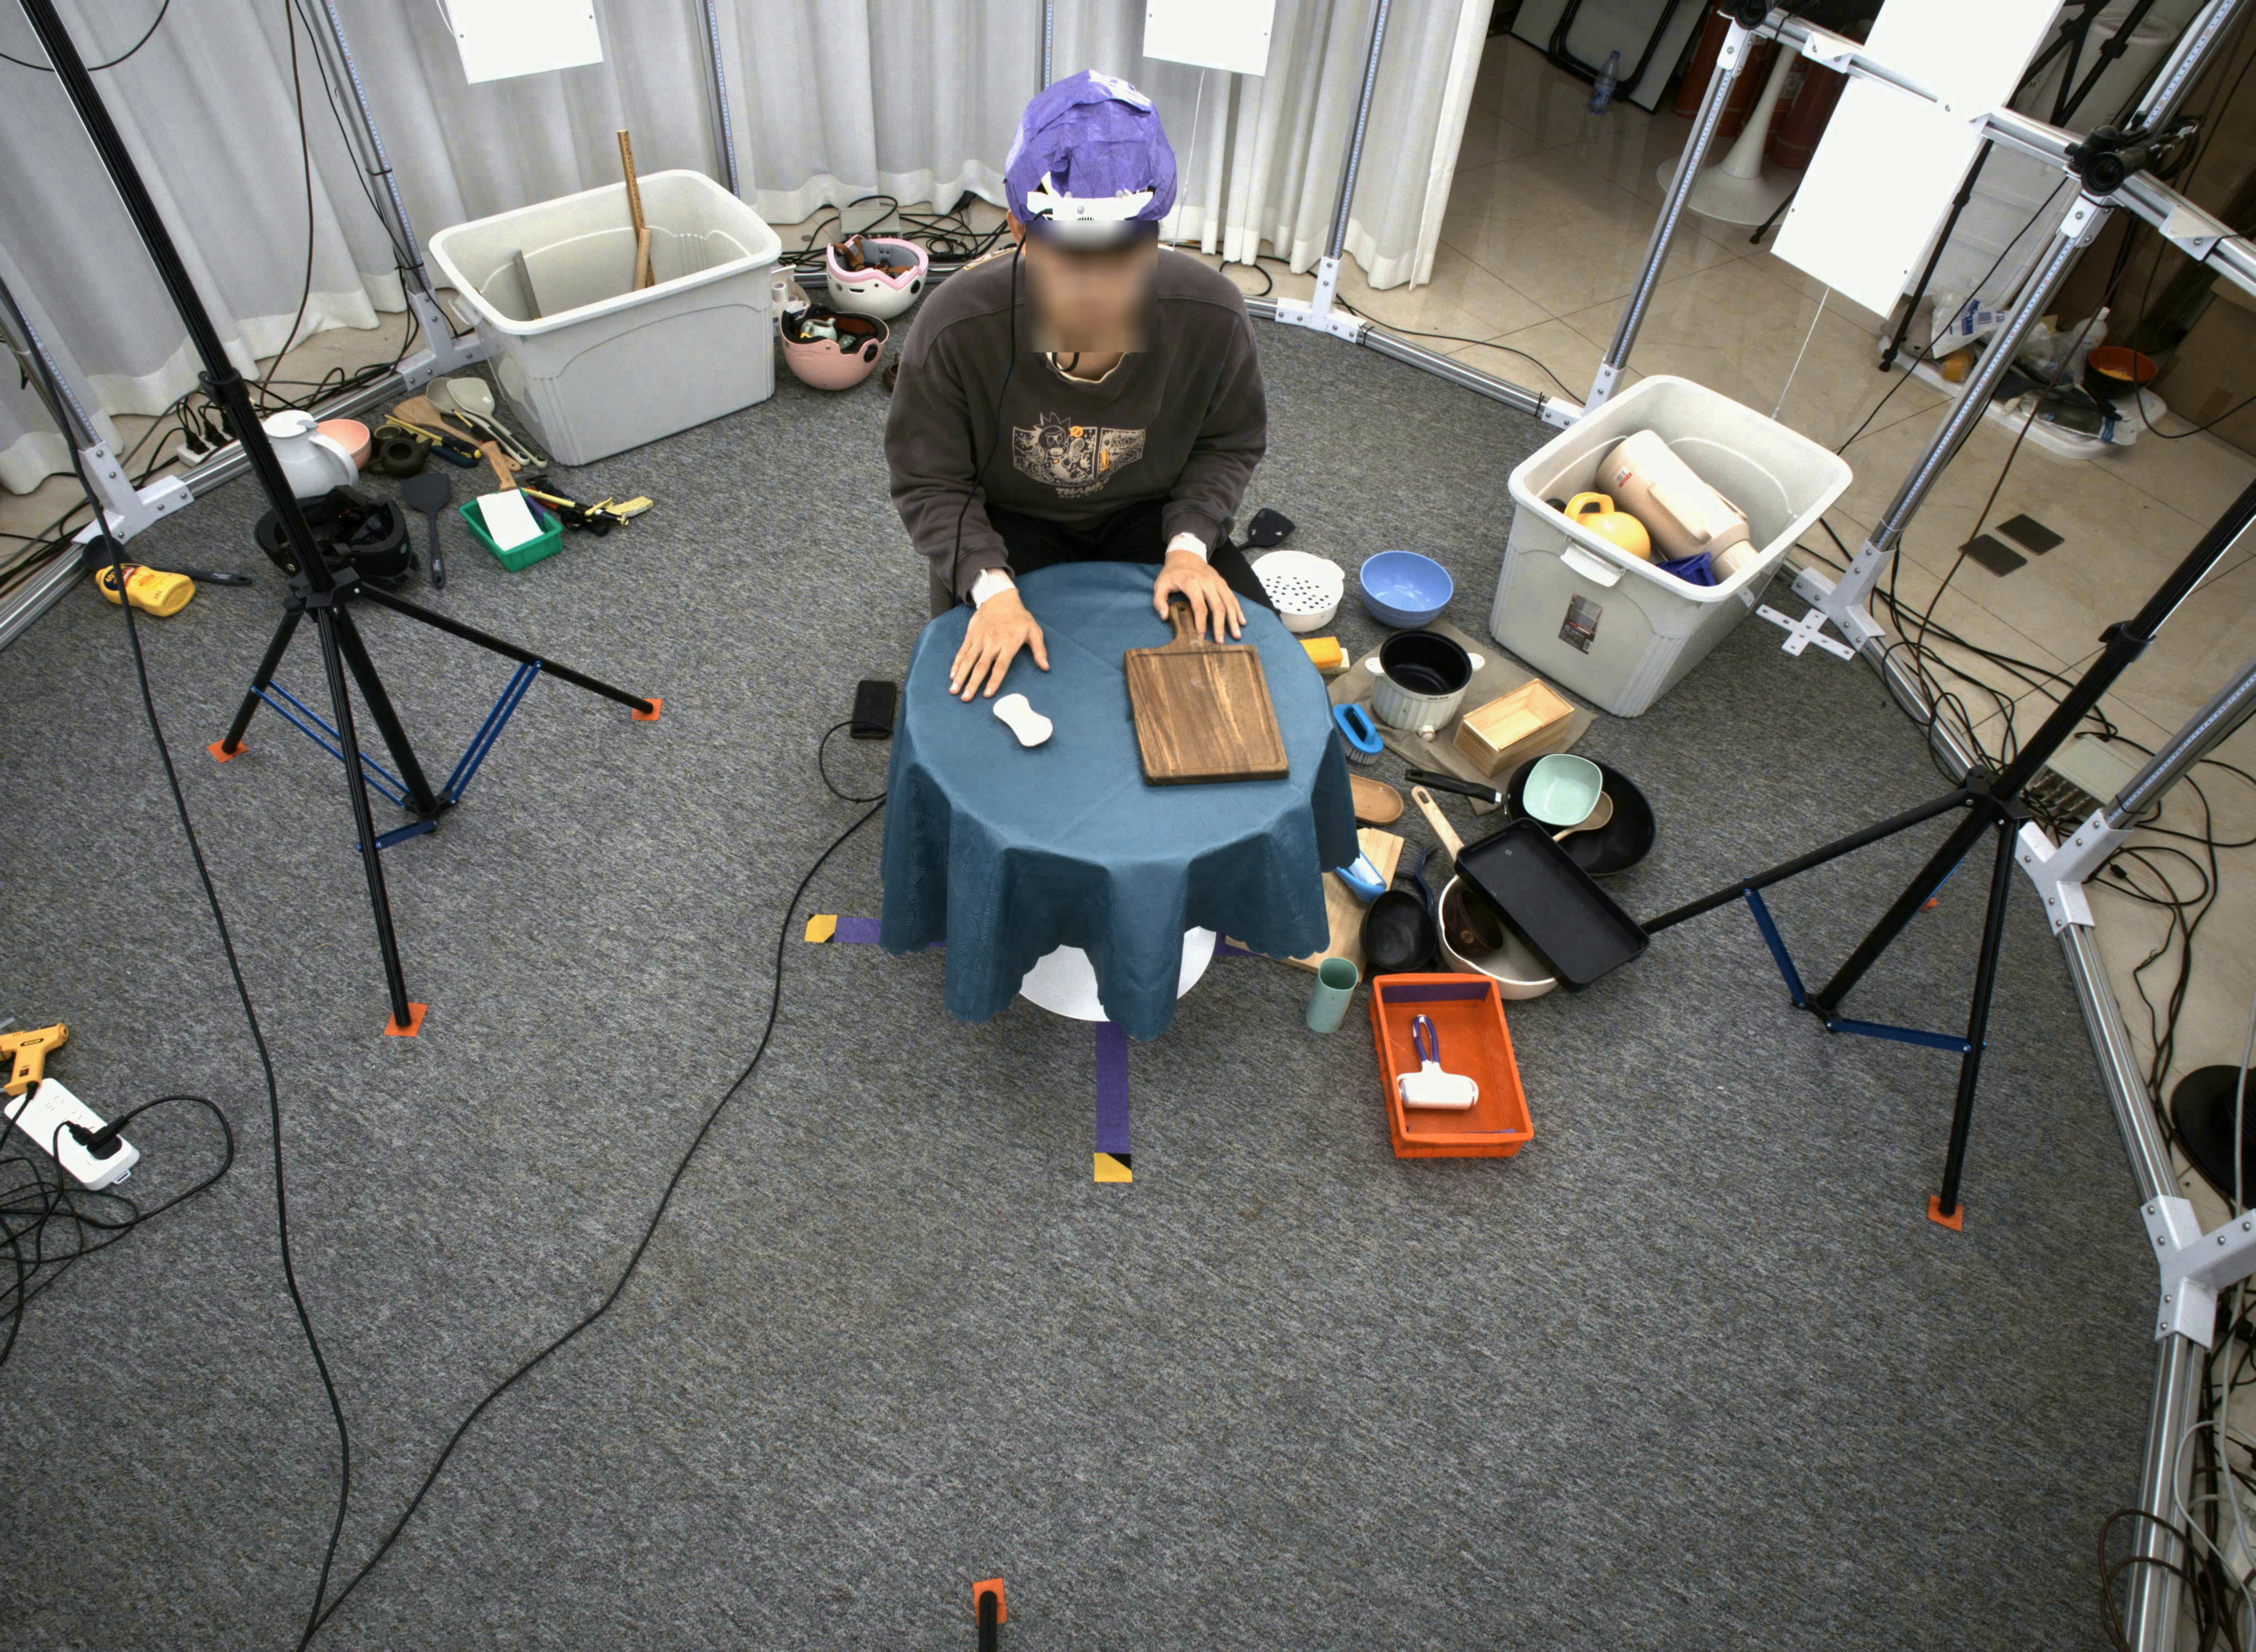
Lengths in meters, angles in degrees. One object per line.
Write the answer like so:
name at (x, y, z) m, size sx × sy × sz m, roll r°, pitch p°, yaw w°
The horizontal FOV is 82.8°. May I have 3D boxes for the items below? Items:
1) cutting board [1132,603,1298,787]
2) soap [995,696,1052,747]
cutting board at (0.112, -0.197, 1.830) m, size 0.201 × 0.022 × 0.361 m, roll -3°, pitch 49°, yaw -6°
soap at (-0.144, -0.144, 1.765) m, size 0.050 × 0.029 × 0.096 m, roll -24°, pitch 53°, yaw -23°
